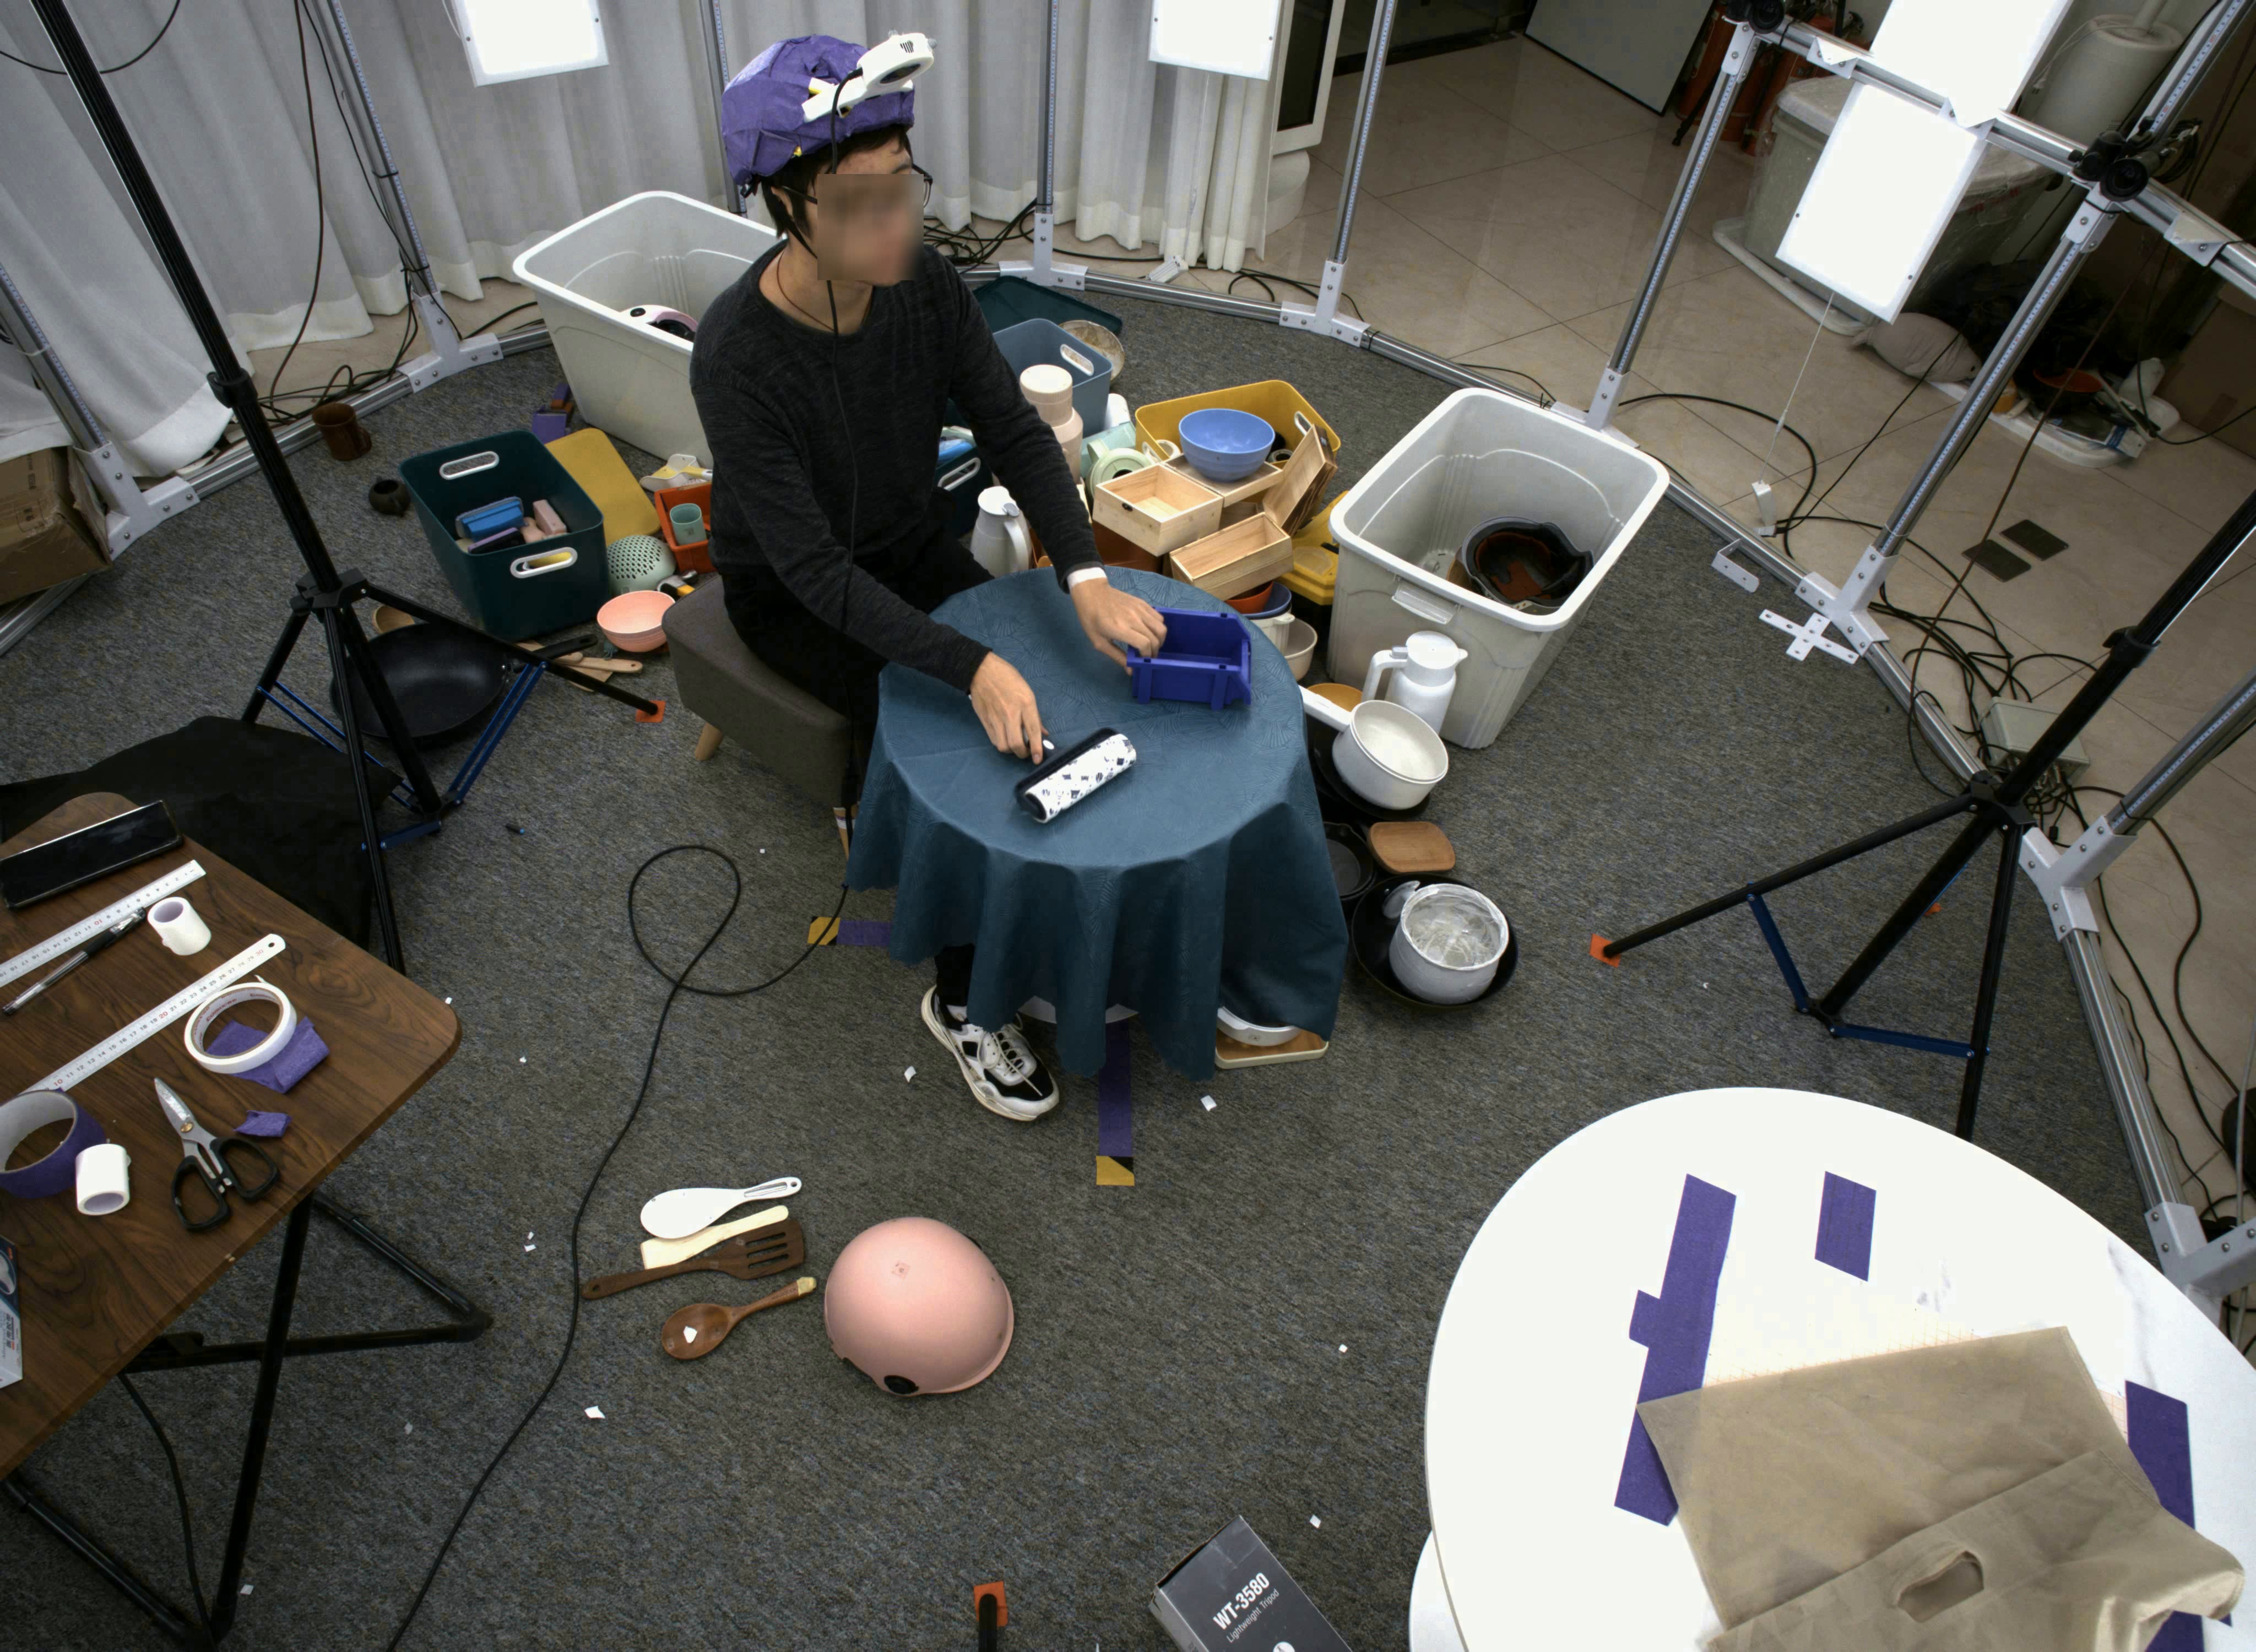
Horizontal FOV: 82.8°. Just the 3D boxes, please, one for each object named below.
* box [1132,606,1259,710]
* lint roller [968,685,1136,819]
[{"bbox_3d":[0.099,-0.241,1.832,0.179,0.080,0.127,4,49,3],"label":"box"},{"bbox_3d":[-0.133,-0.125,1.735,0.178,0.049,0.251,-35,59,-30],"label":"lint roller"}]
